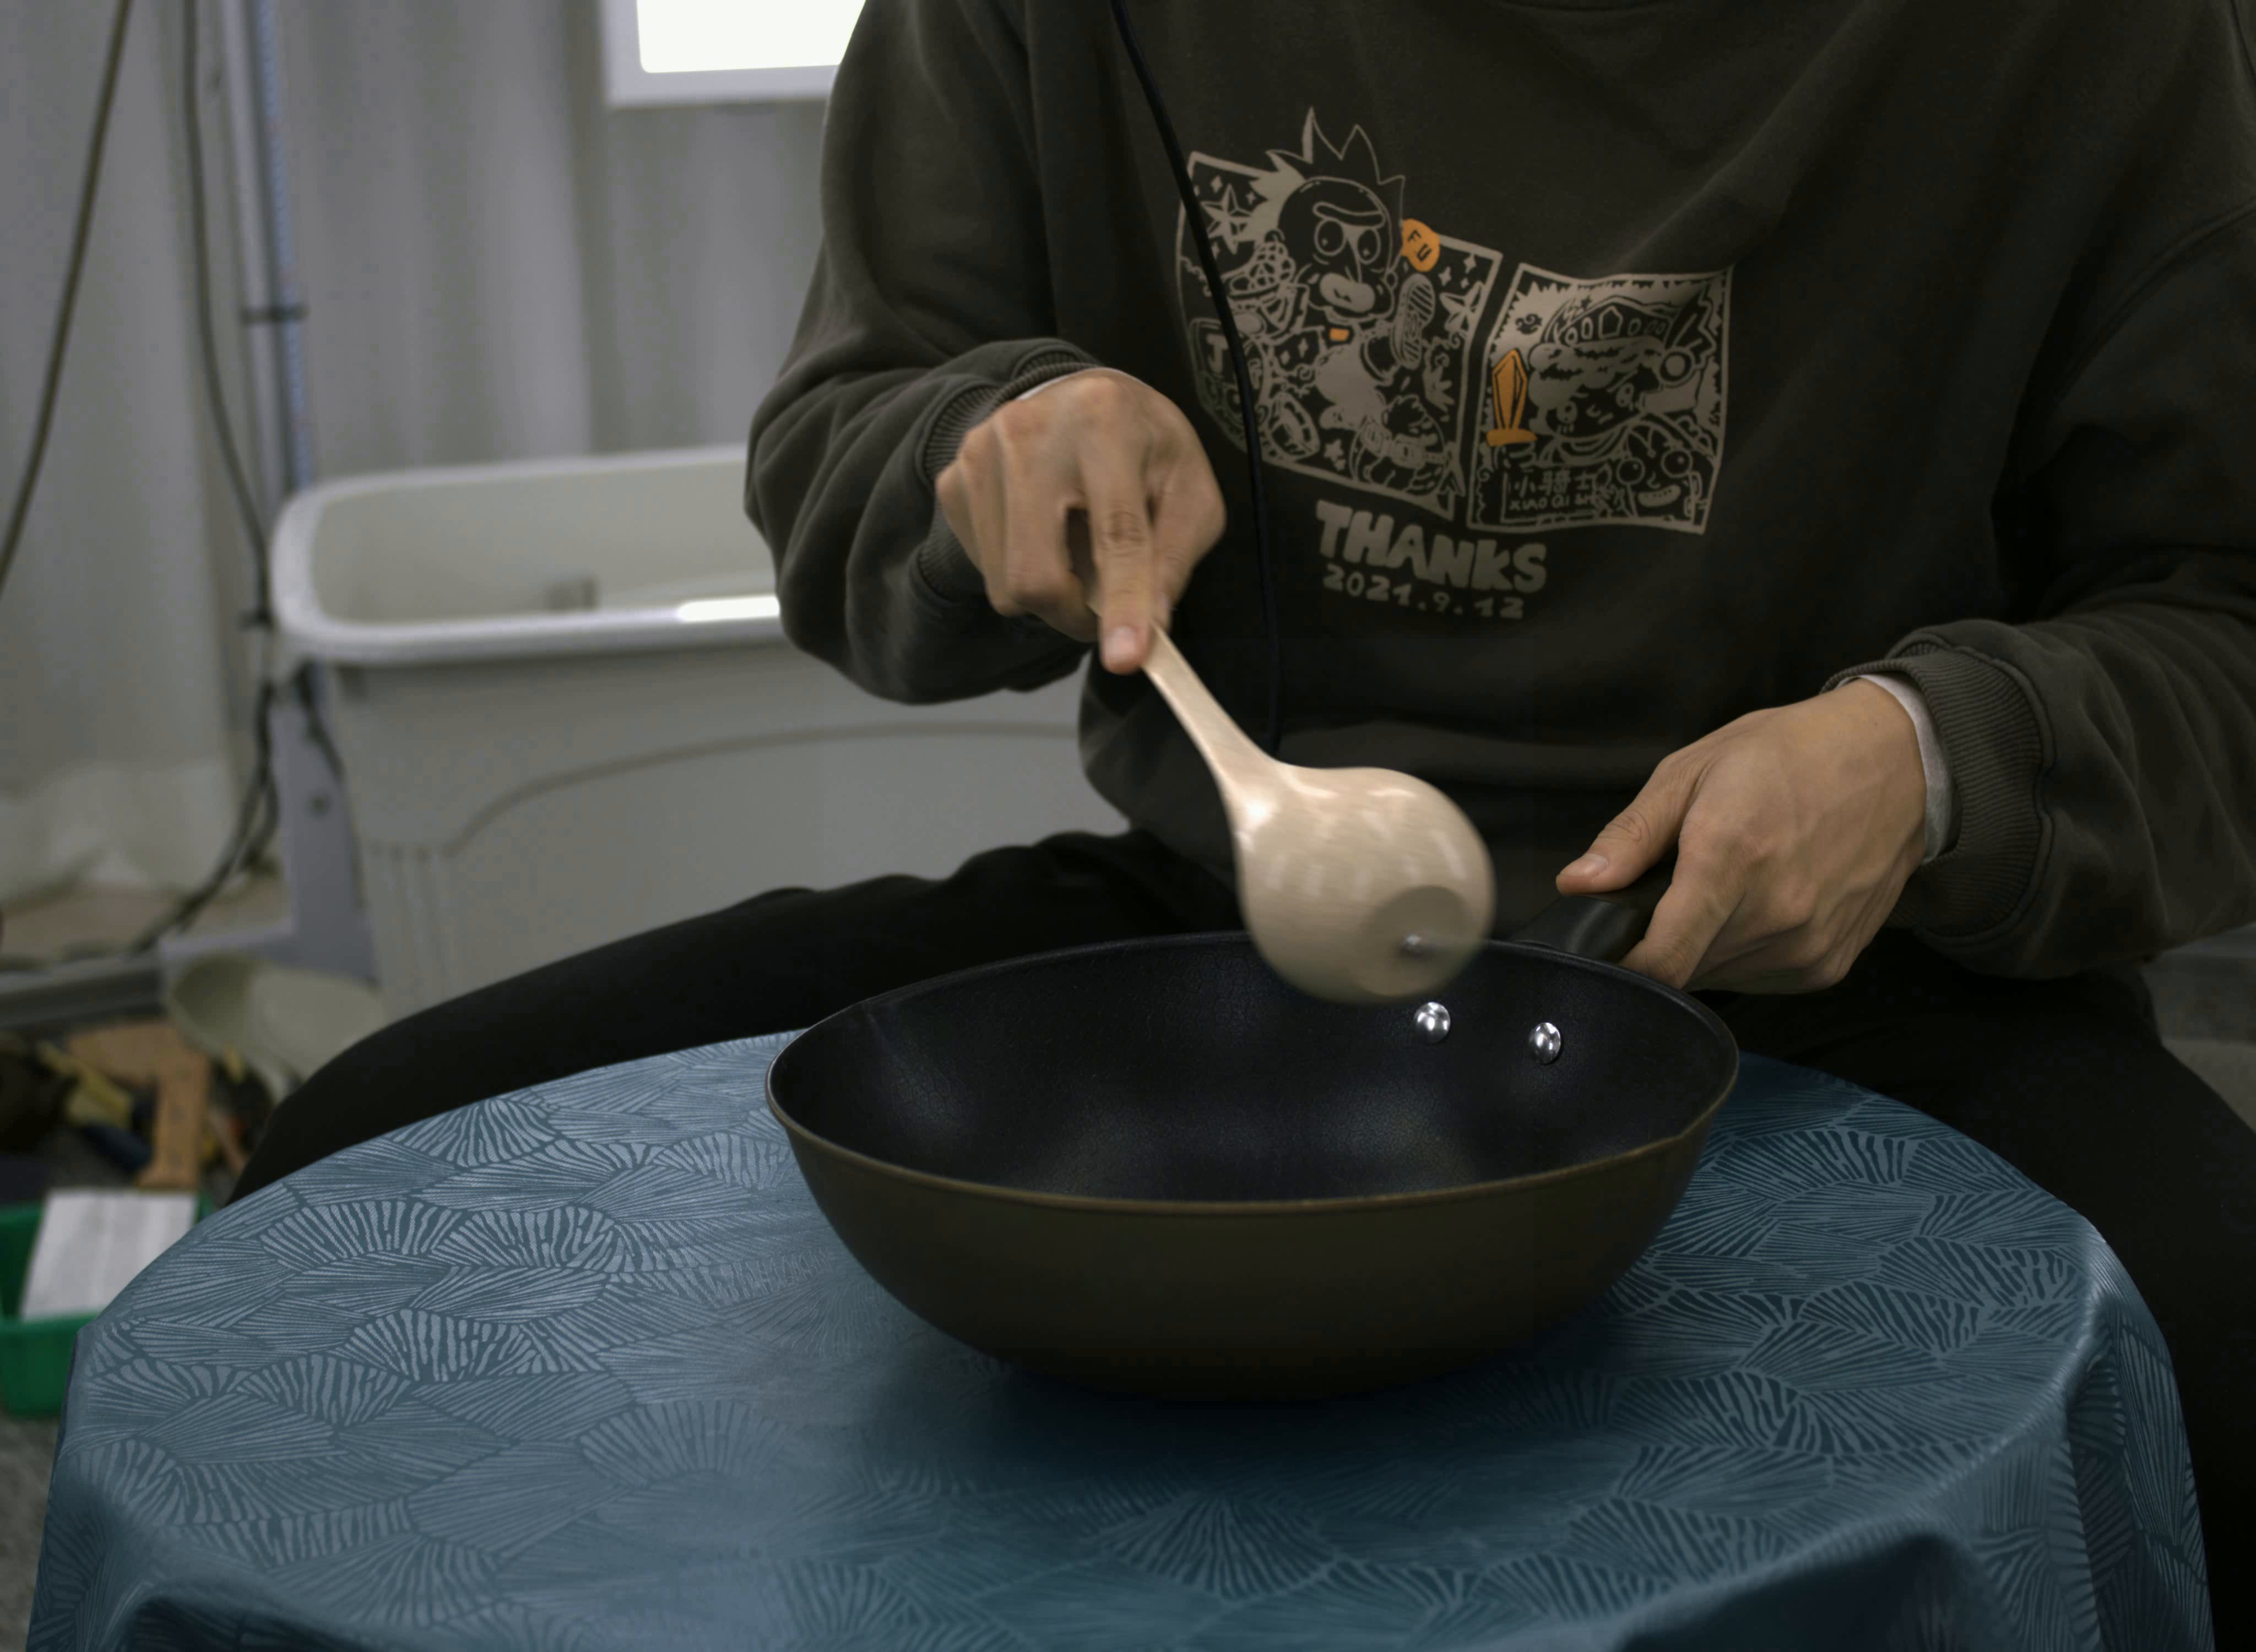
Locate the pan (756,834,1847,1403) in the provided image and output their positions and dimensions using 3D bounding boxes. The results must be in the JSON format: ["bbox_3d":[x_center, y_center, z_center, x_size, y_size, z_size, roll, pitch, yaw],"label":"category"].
[{"bbox_3d":[0.088,0.085,1.661,0.289,0.086,0.463,8,17,36],"label":"pan"}]

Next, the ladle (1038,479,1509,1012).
[{"bbox_3d":[0.041,-0.029,1.703,0.072,0.072,0.258,34,13,-35],"label":"ladle"}]
